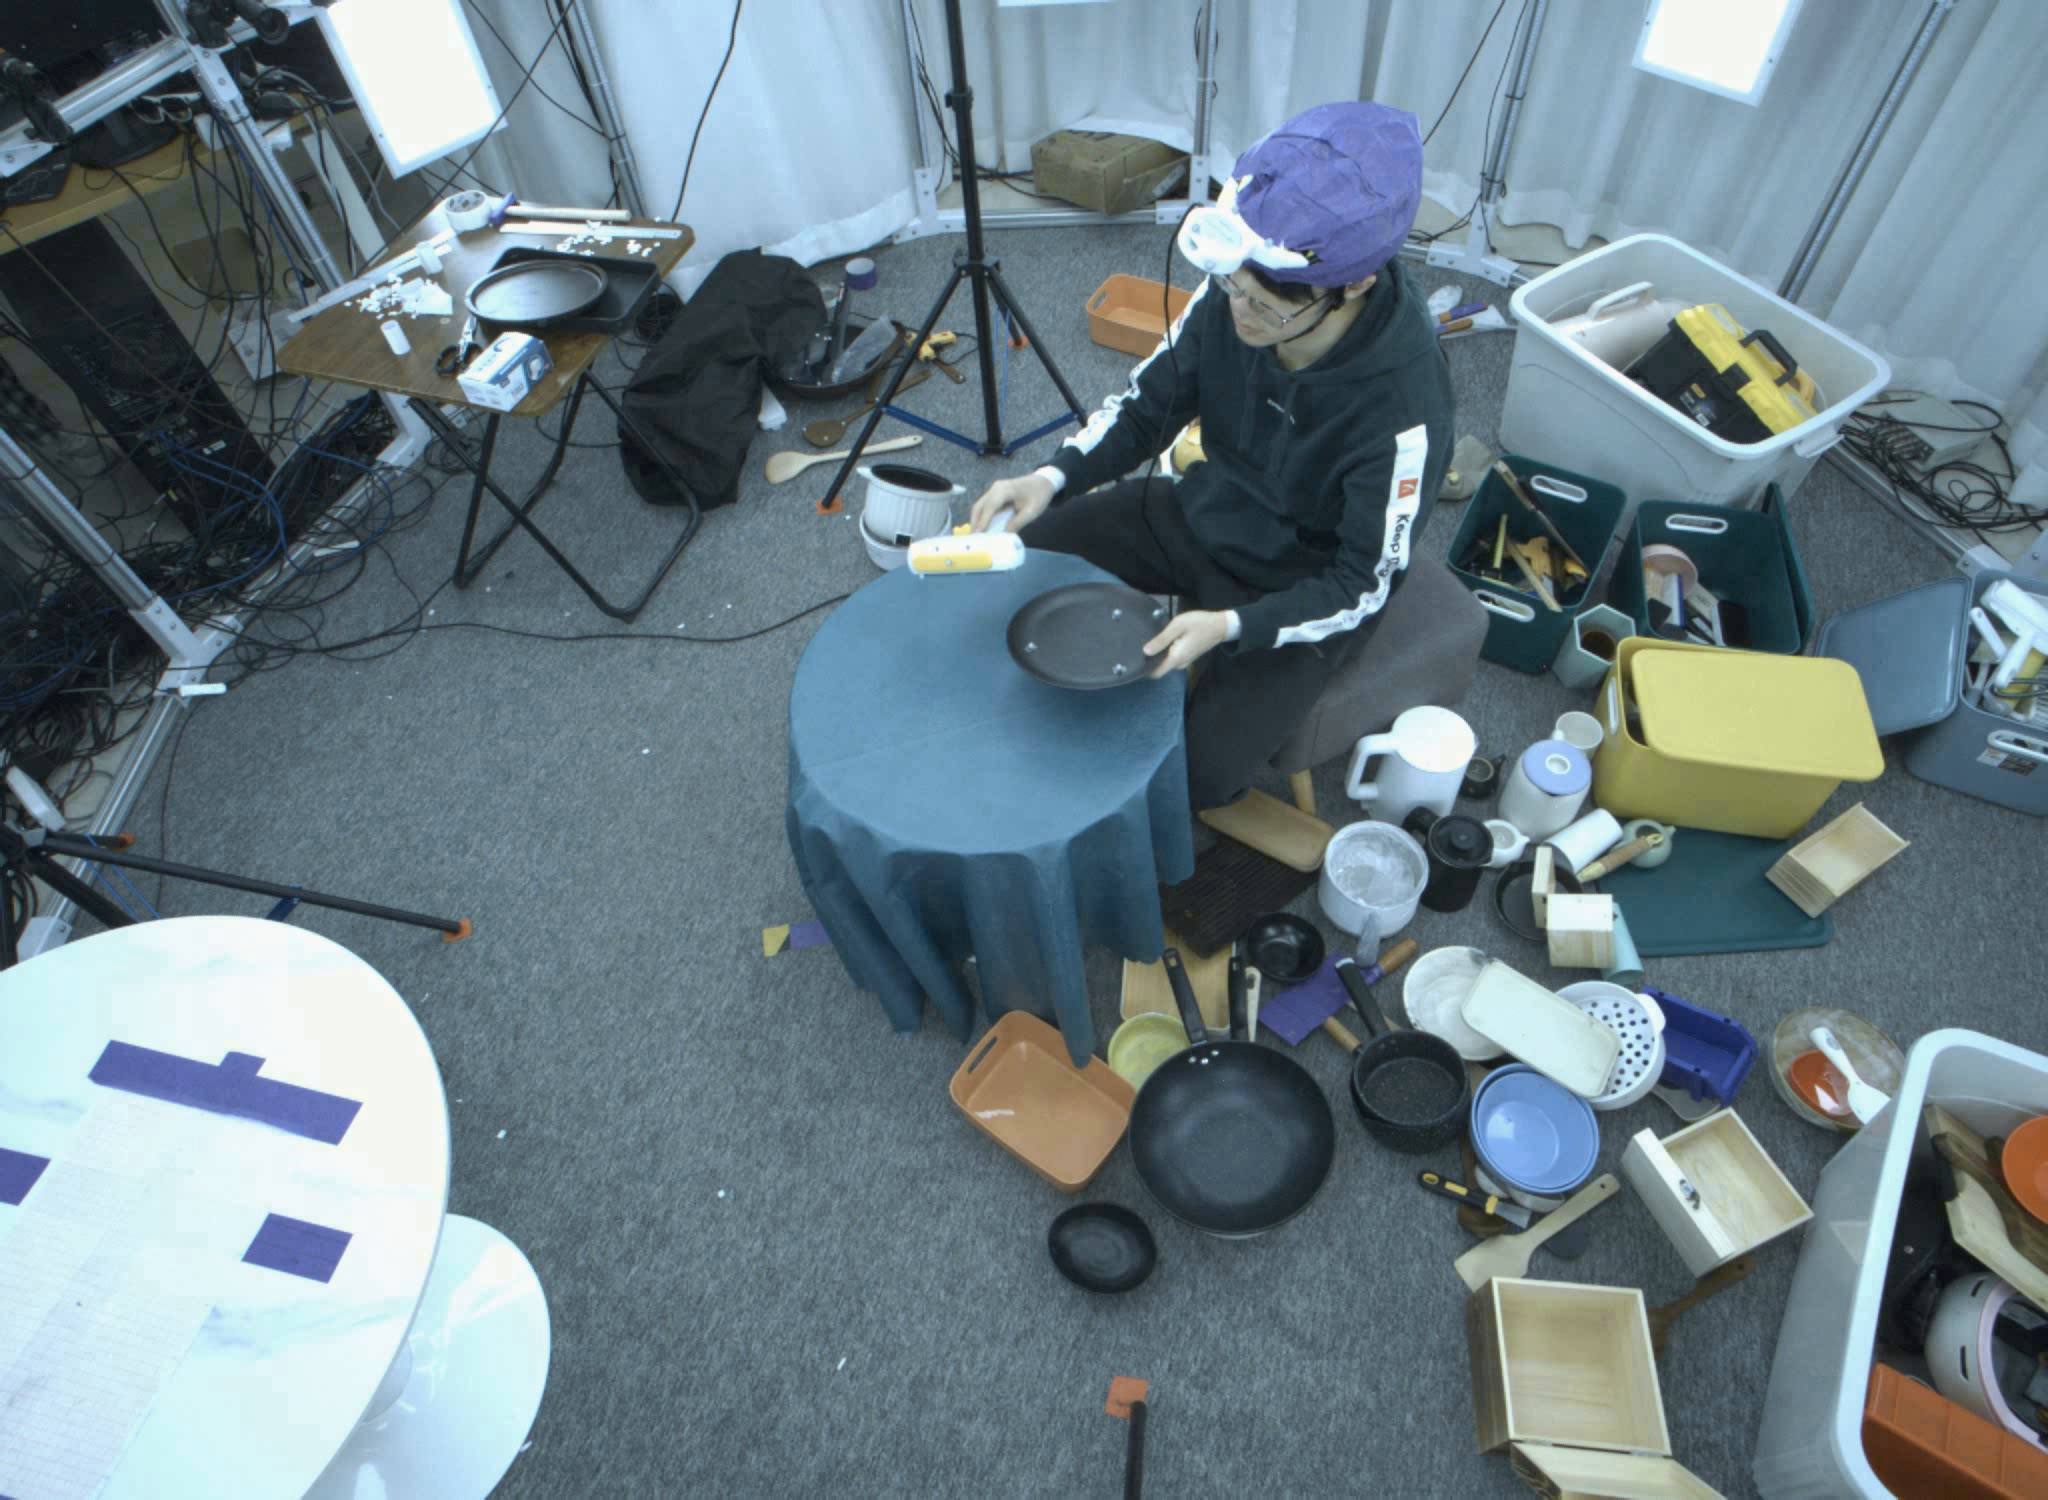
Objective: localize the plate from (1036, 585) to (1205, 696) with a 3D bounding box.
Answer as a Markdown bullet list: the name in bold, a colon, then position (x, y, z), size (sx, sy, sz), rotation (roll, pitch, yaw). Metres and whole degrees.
- **plate**: position (0.139, -0.155, 1.777), size (0.244, 0.024, 0.242), rotation (0, 46, 2)

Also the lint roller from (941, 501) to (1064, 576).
- **lint roller**: position (-0.007, -0.314, 1.815), size (0.189, 0.075, 0.194), rotation (-1, 26, 33)
